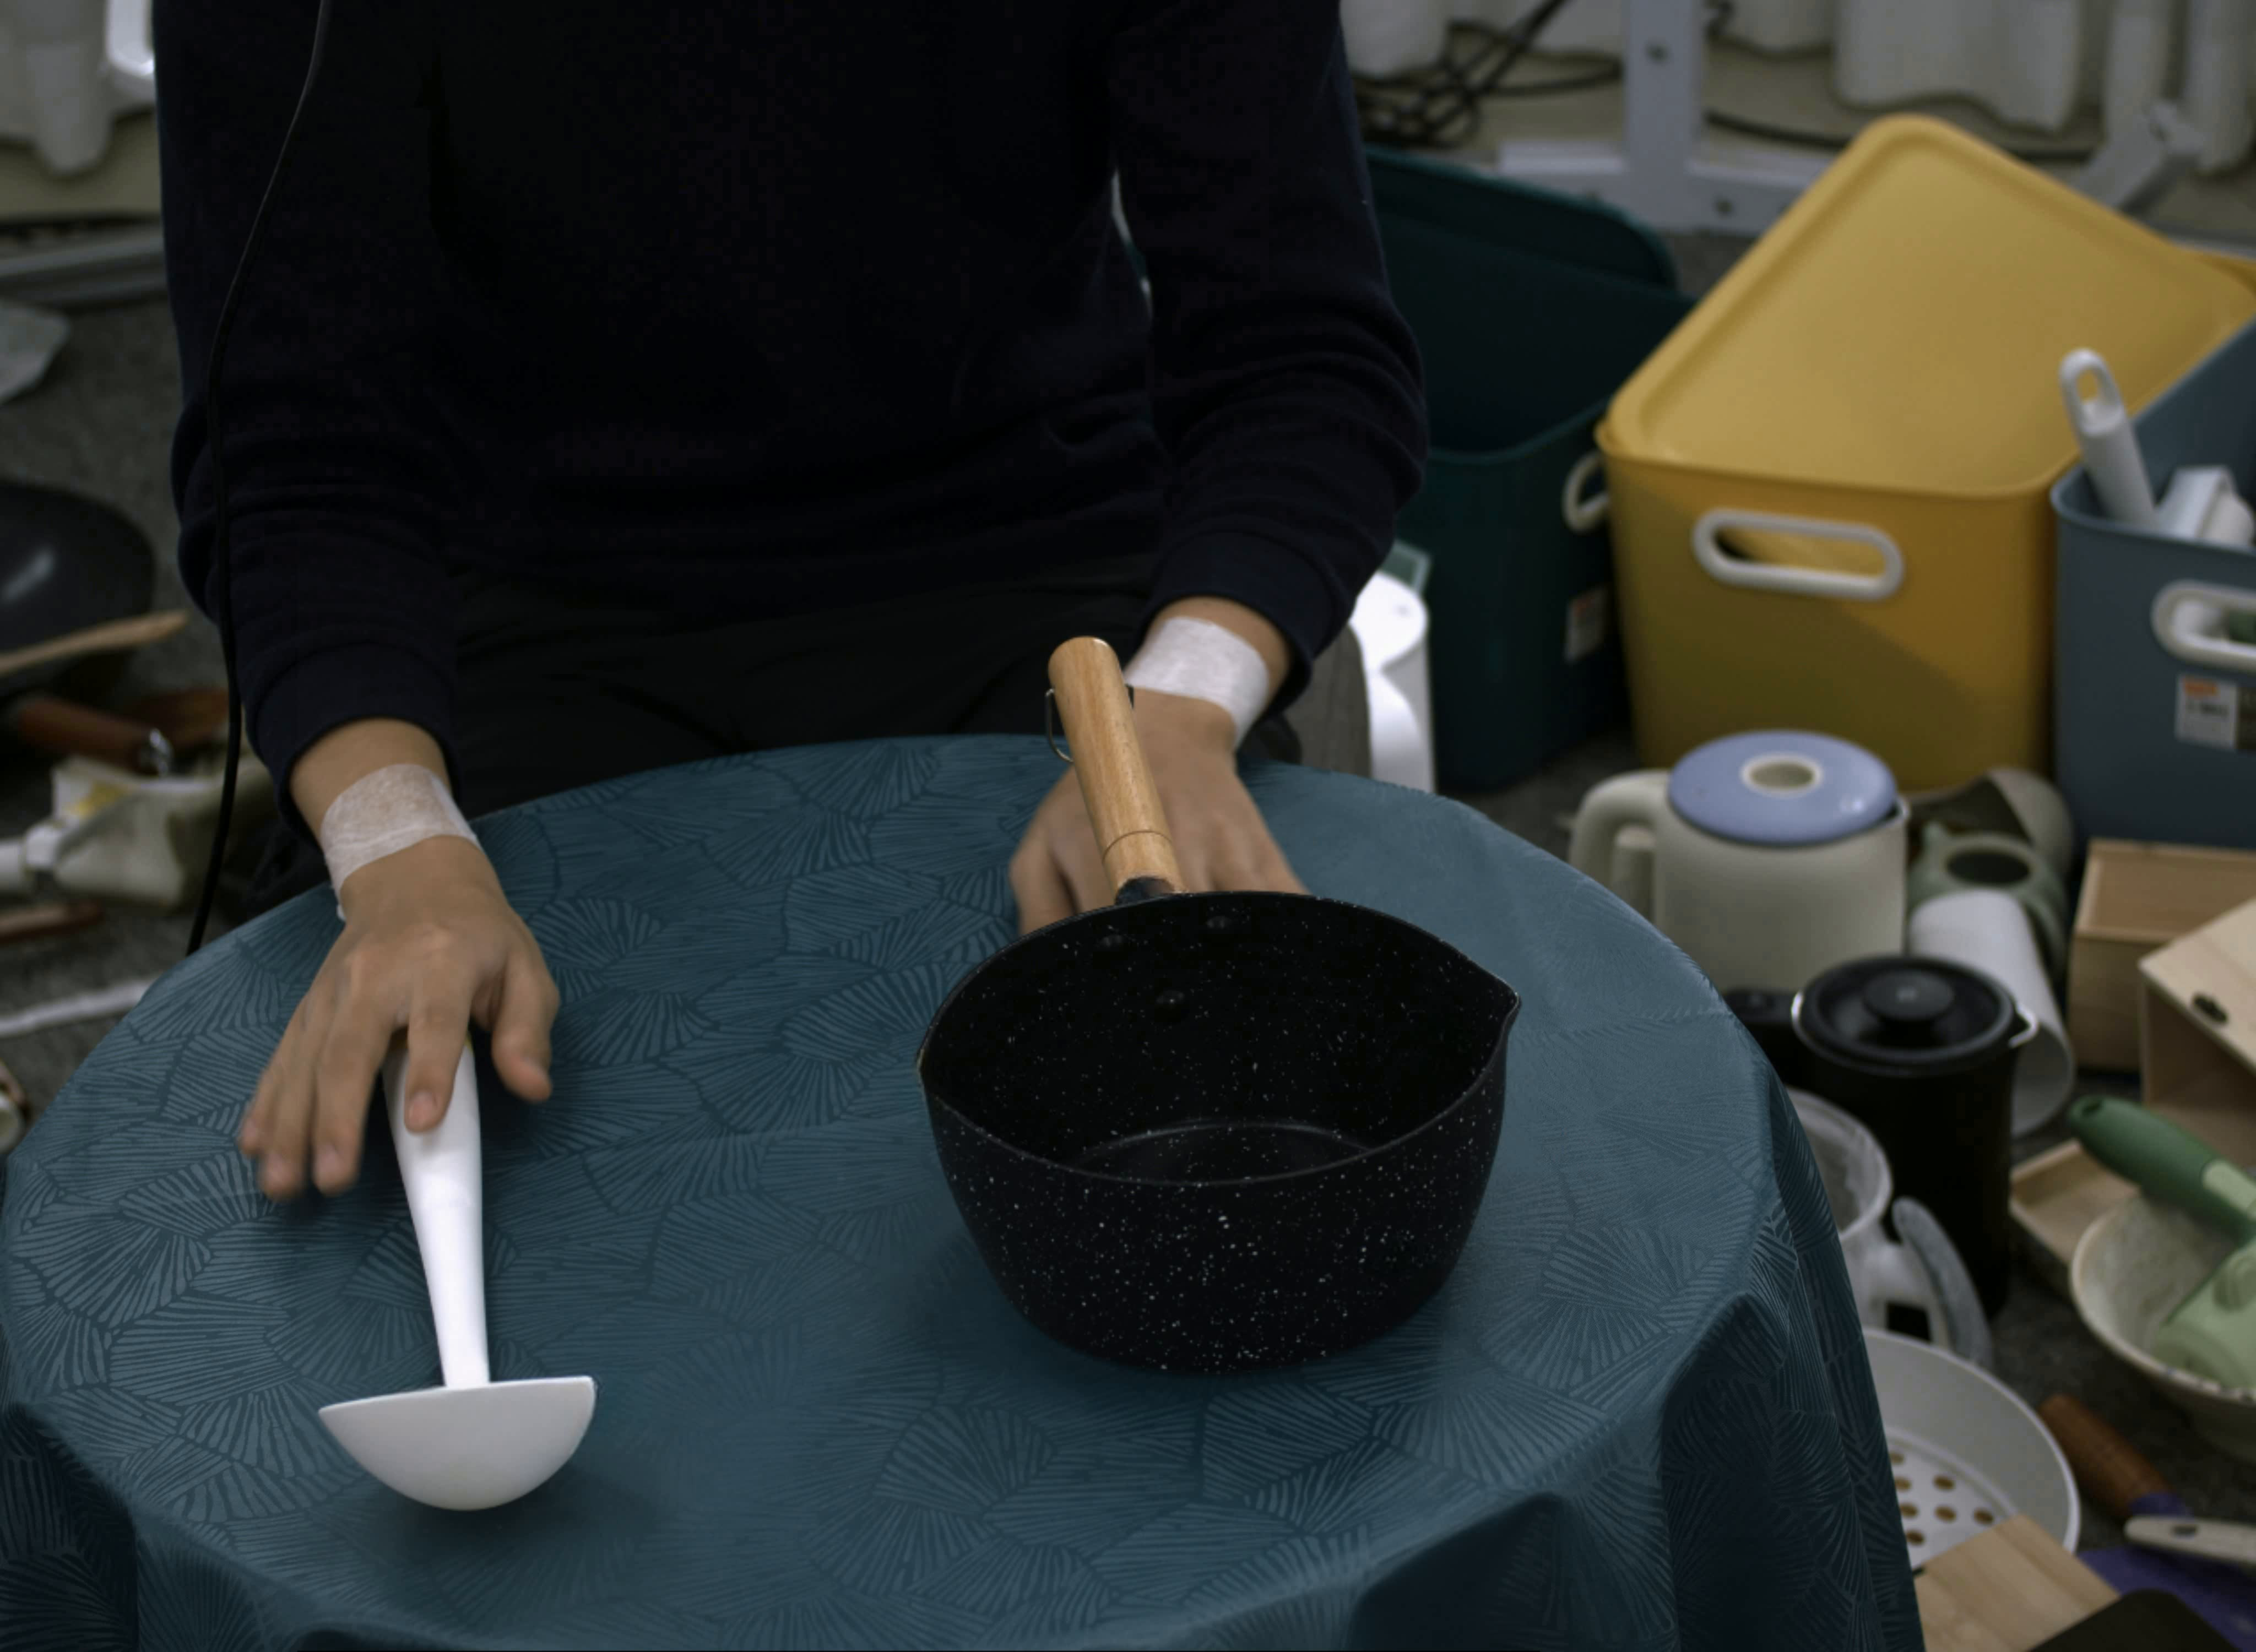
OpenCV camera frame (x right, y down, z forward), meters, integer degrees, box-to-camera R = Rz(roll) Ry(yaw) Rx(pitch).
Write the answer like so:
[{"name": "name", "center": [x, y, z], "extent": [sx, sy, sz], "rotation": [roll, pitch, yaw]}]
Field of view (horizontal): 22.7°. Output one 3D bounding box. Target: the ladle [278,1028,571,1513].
[{"name": "ladle", "center": [-0.225, 0.131, 1.800], "extent": [0.090, 0.069, 0.296], "rotation": [-12, 27, -2]}]

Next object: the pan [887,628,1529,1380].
[{"name": "pan", "center": [0.014, 0.055, 1.872], "extent": [0.207, 0.107, 0.347], "rotation": [-9, 29, -8]}]
